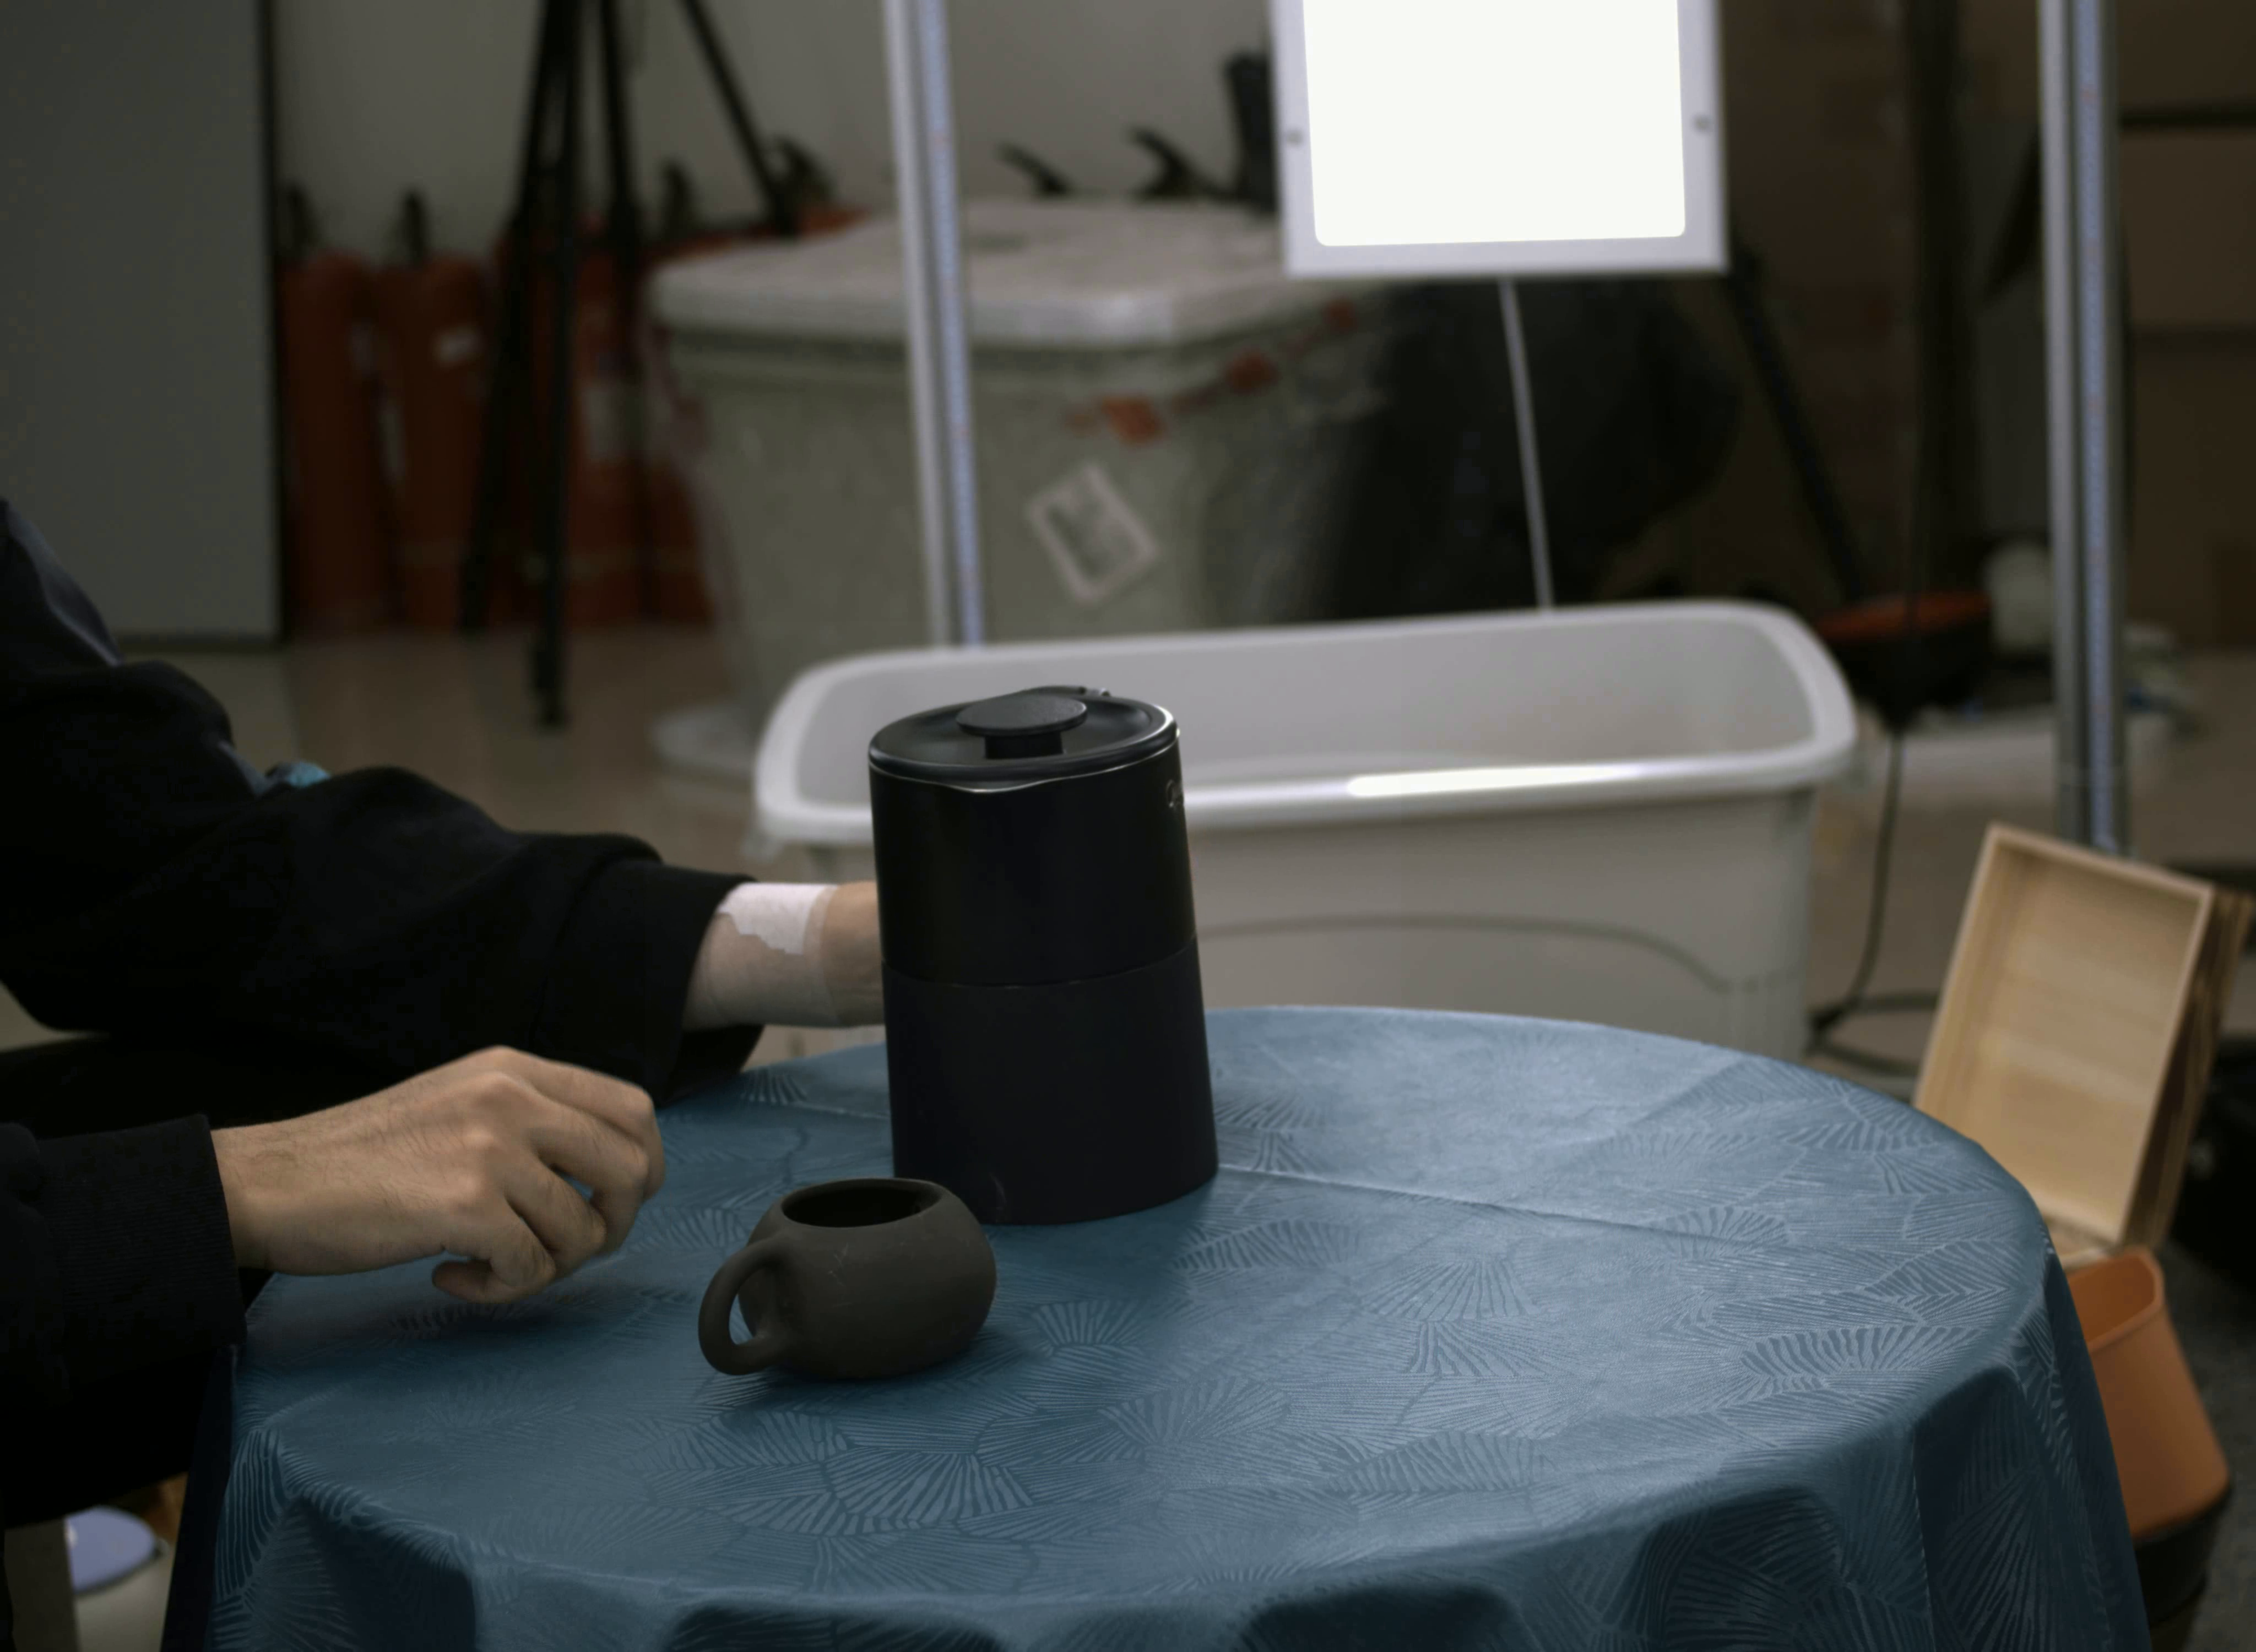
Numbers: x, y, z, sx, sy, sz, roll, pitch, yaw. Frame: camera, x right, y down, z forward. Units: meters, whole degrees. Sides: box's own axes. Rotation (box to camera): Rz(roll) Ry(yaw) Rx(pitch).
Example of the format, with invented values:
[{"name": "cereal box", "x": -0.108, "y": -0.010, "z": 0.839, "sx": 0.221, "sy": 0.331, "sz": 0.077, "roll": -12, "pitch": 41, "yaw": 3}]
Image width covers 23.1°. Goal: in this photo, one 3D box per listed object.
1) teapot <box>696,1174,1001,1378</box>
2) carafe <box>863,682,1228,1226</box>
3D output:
[{"name": "teapot", "x": -0.091, "y": 0.145, "z": 1.748, "sx": 0.111, "sy": 0.053, "sz": 0.085, "roll": -12, "pitch": 14, "yaw": -38}, {"name": "carafe", "x": -0.028, "y": 0.035, "z": 1.920, "sx": 0.115, "sy": 0.174, "sz": 0.170, "roll": -4, "pitch": 16, "yaw": 10}]
